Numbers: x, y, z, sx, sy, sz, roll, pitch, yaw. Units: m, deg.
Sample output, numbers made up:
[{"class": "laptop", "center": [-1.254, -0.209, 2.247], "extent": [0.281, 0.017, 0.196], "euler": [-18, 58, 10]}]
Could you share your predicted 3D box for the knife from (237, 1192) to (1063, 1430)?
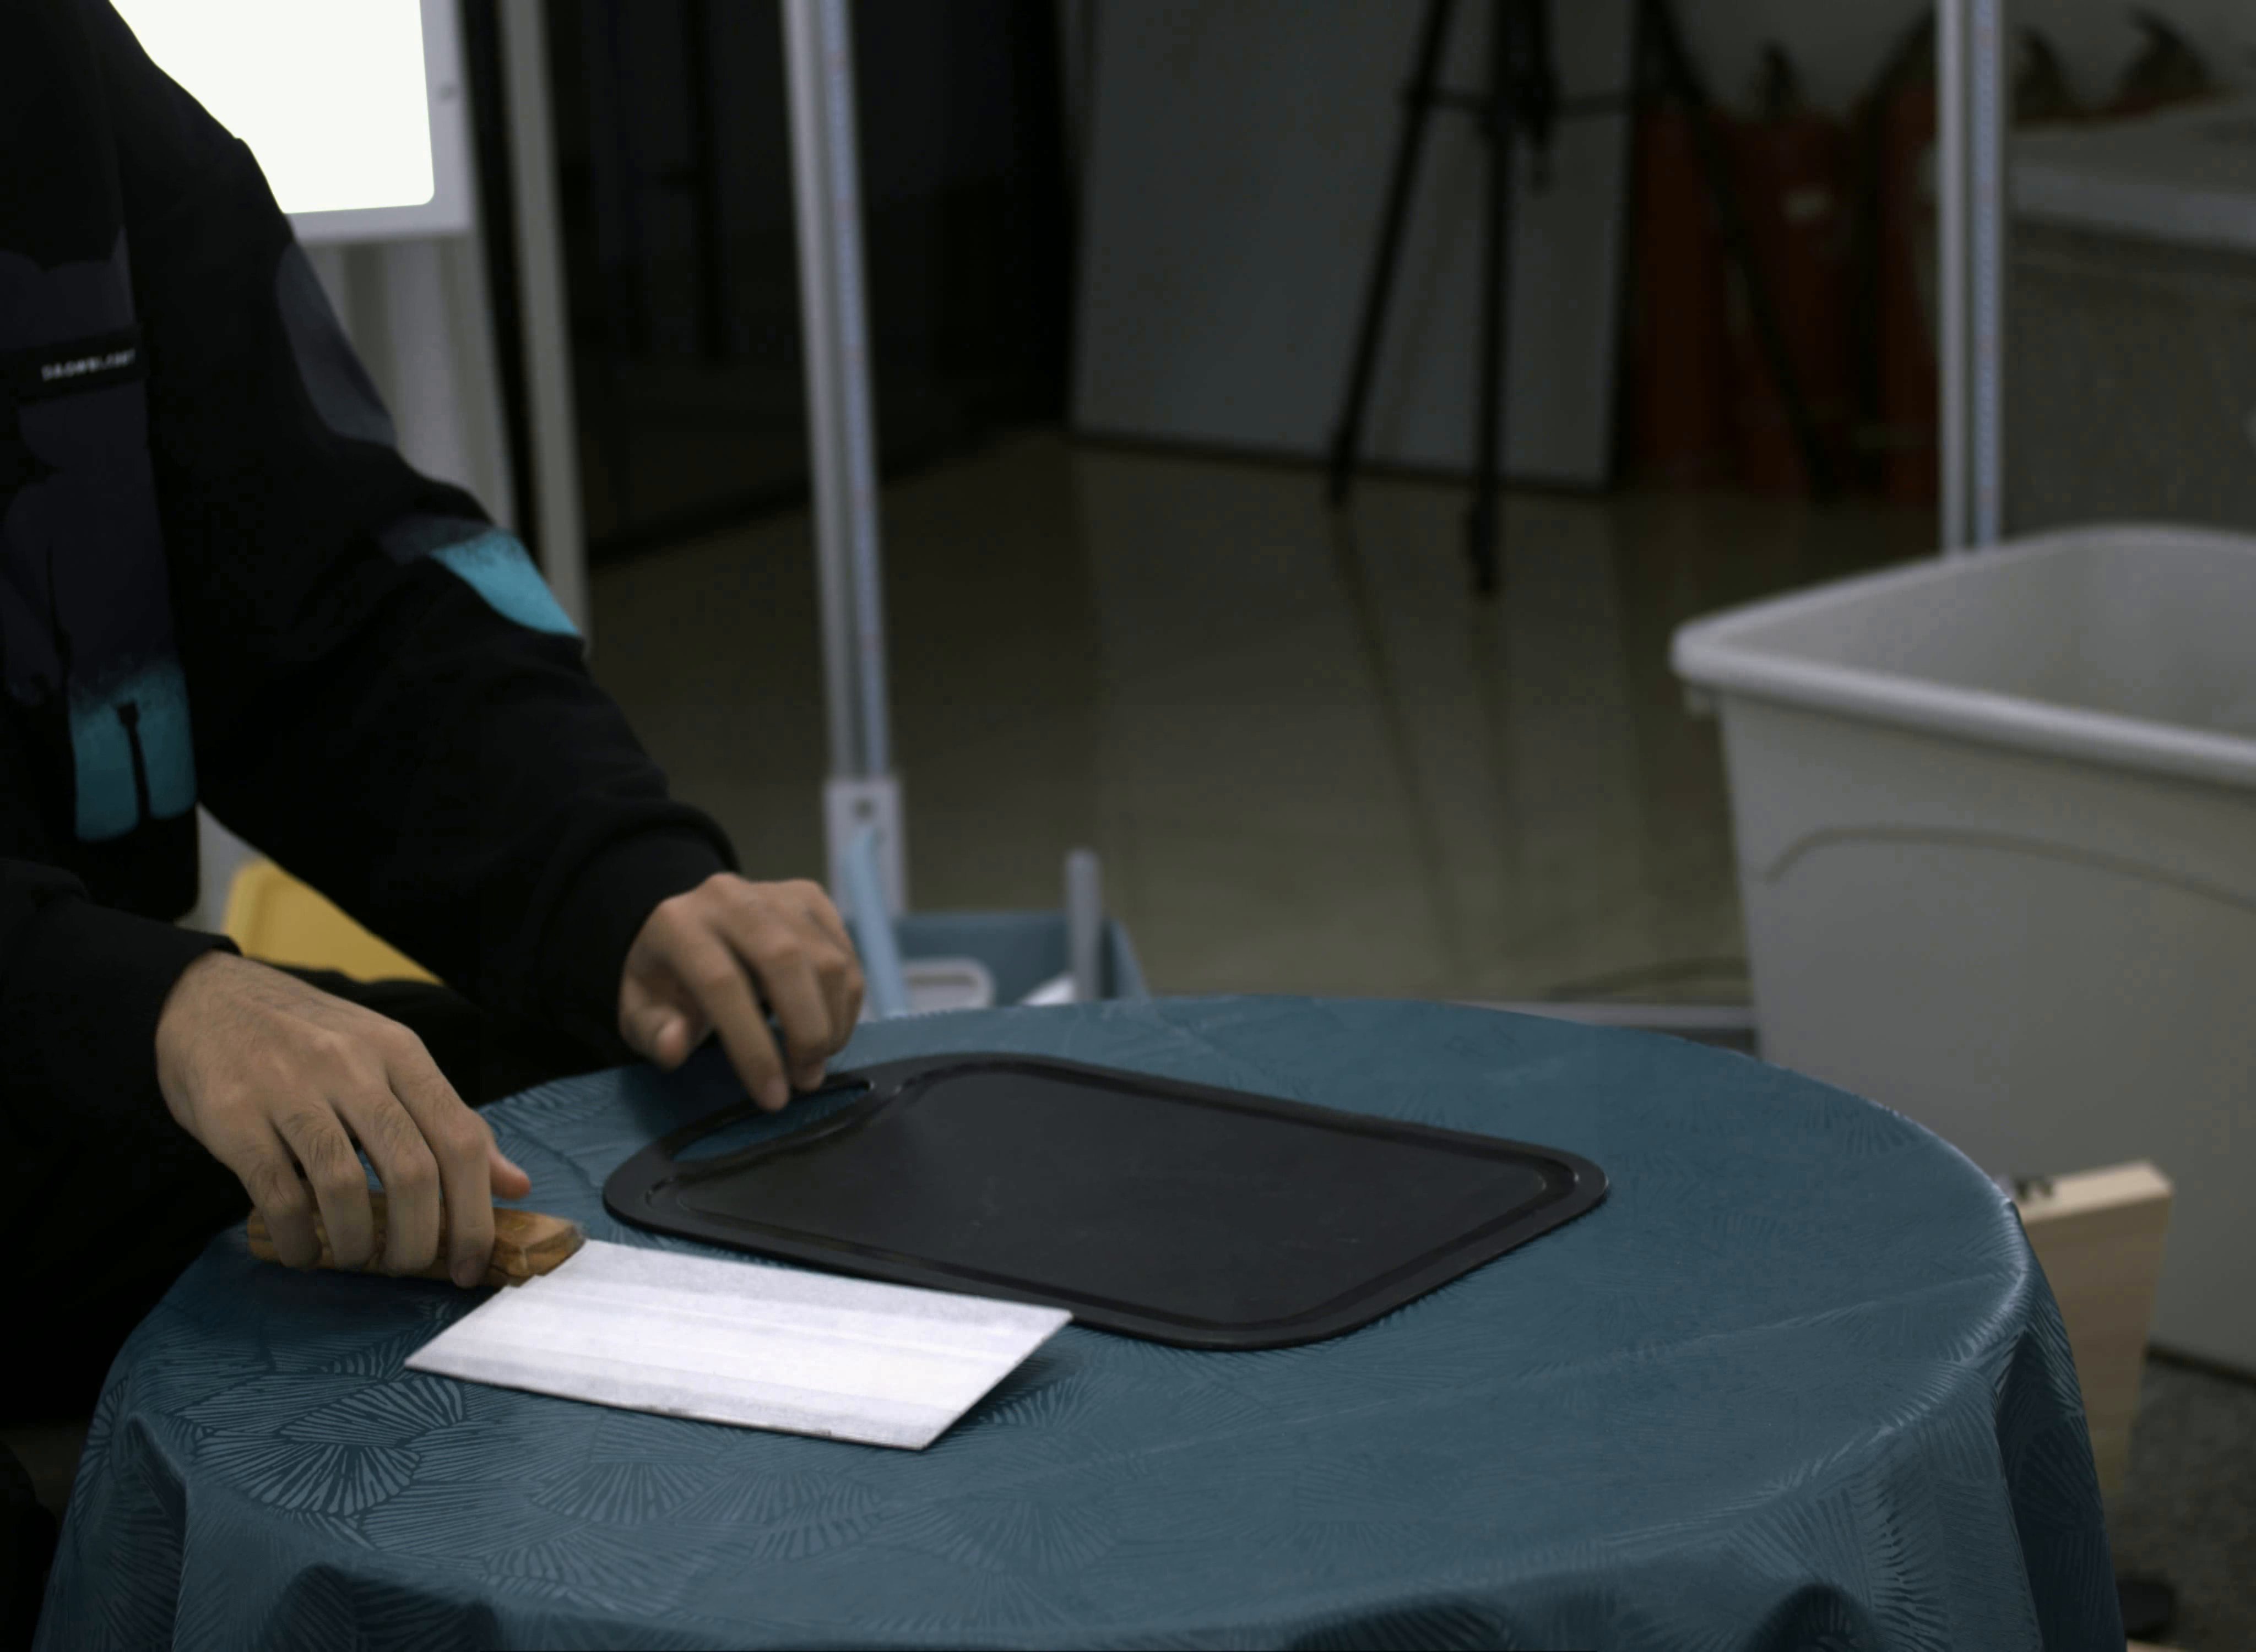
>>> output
[{"class": "knife", "center": [-0.165, 0.151, 1.663], "extent": [0.307, 0.021, 0.091], "euler": [6, 22, 32]}]

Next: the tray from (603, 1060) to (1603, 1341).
[{"class": "tray", "center": [-0.017, 0.118, 1.773], "extent": [0.328, 0.010, 0.207], "euler": [8, 18, 40]}]
